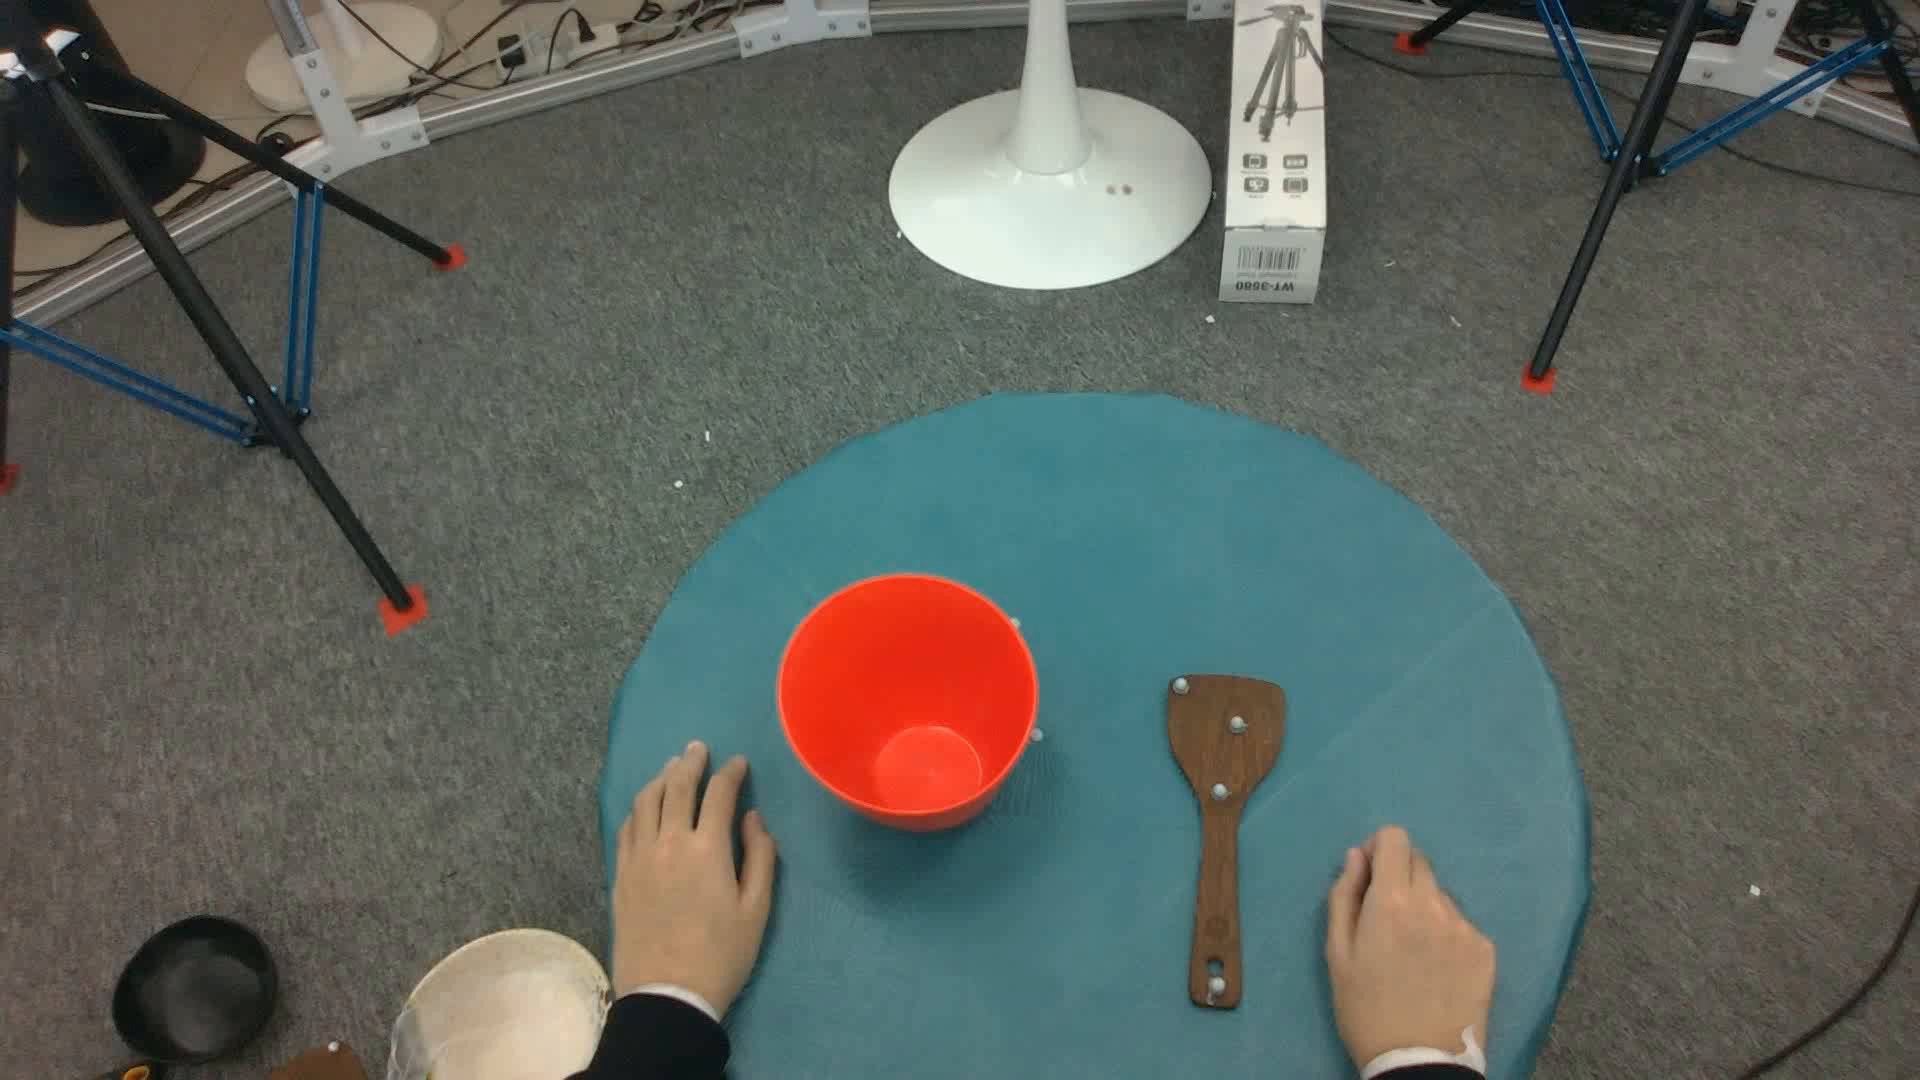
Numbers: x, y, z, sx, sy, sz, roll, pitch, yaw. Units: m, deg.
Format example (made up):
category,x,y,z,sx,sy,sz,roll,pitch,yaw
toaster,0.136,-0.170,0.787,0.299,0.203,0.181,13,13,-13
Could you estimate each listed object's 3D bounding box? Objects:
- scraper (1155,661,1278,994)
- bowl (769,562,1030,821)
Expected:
category,x,y,z,sx,sy,sz,roll,pitch,yaw
scraper,0.148,0.163,0.811,0.076,0.011,0.212,5,53,8
bowl,-0.032,0.101,0.812,0.148,0.104,0.148,-1,53,1
